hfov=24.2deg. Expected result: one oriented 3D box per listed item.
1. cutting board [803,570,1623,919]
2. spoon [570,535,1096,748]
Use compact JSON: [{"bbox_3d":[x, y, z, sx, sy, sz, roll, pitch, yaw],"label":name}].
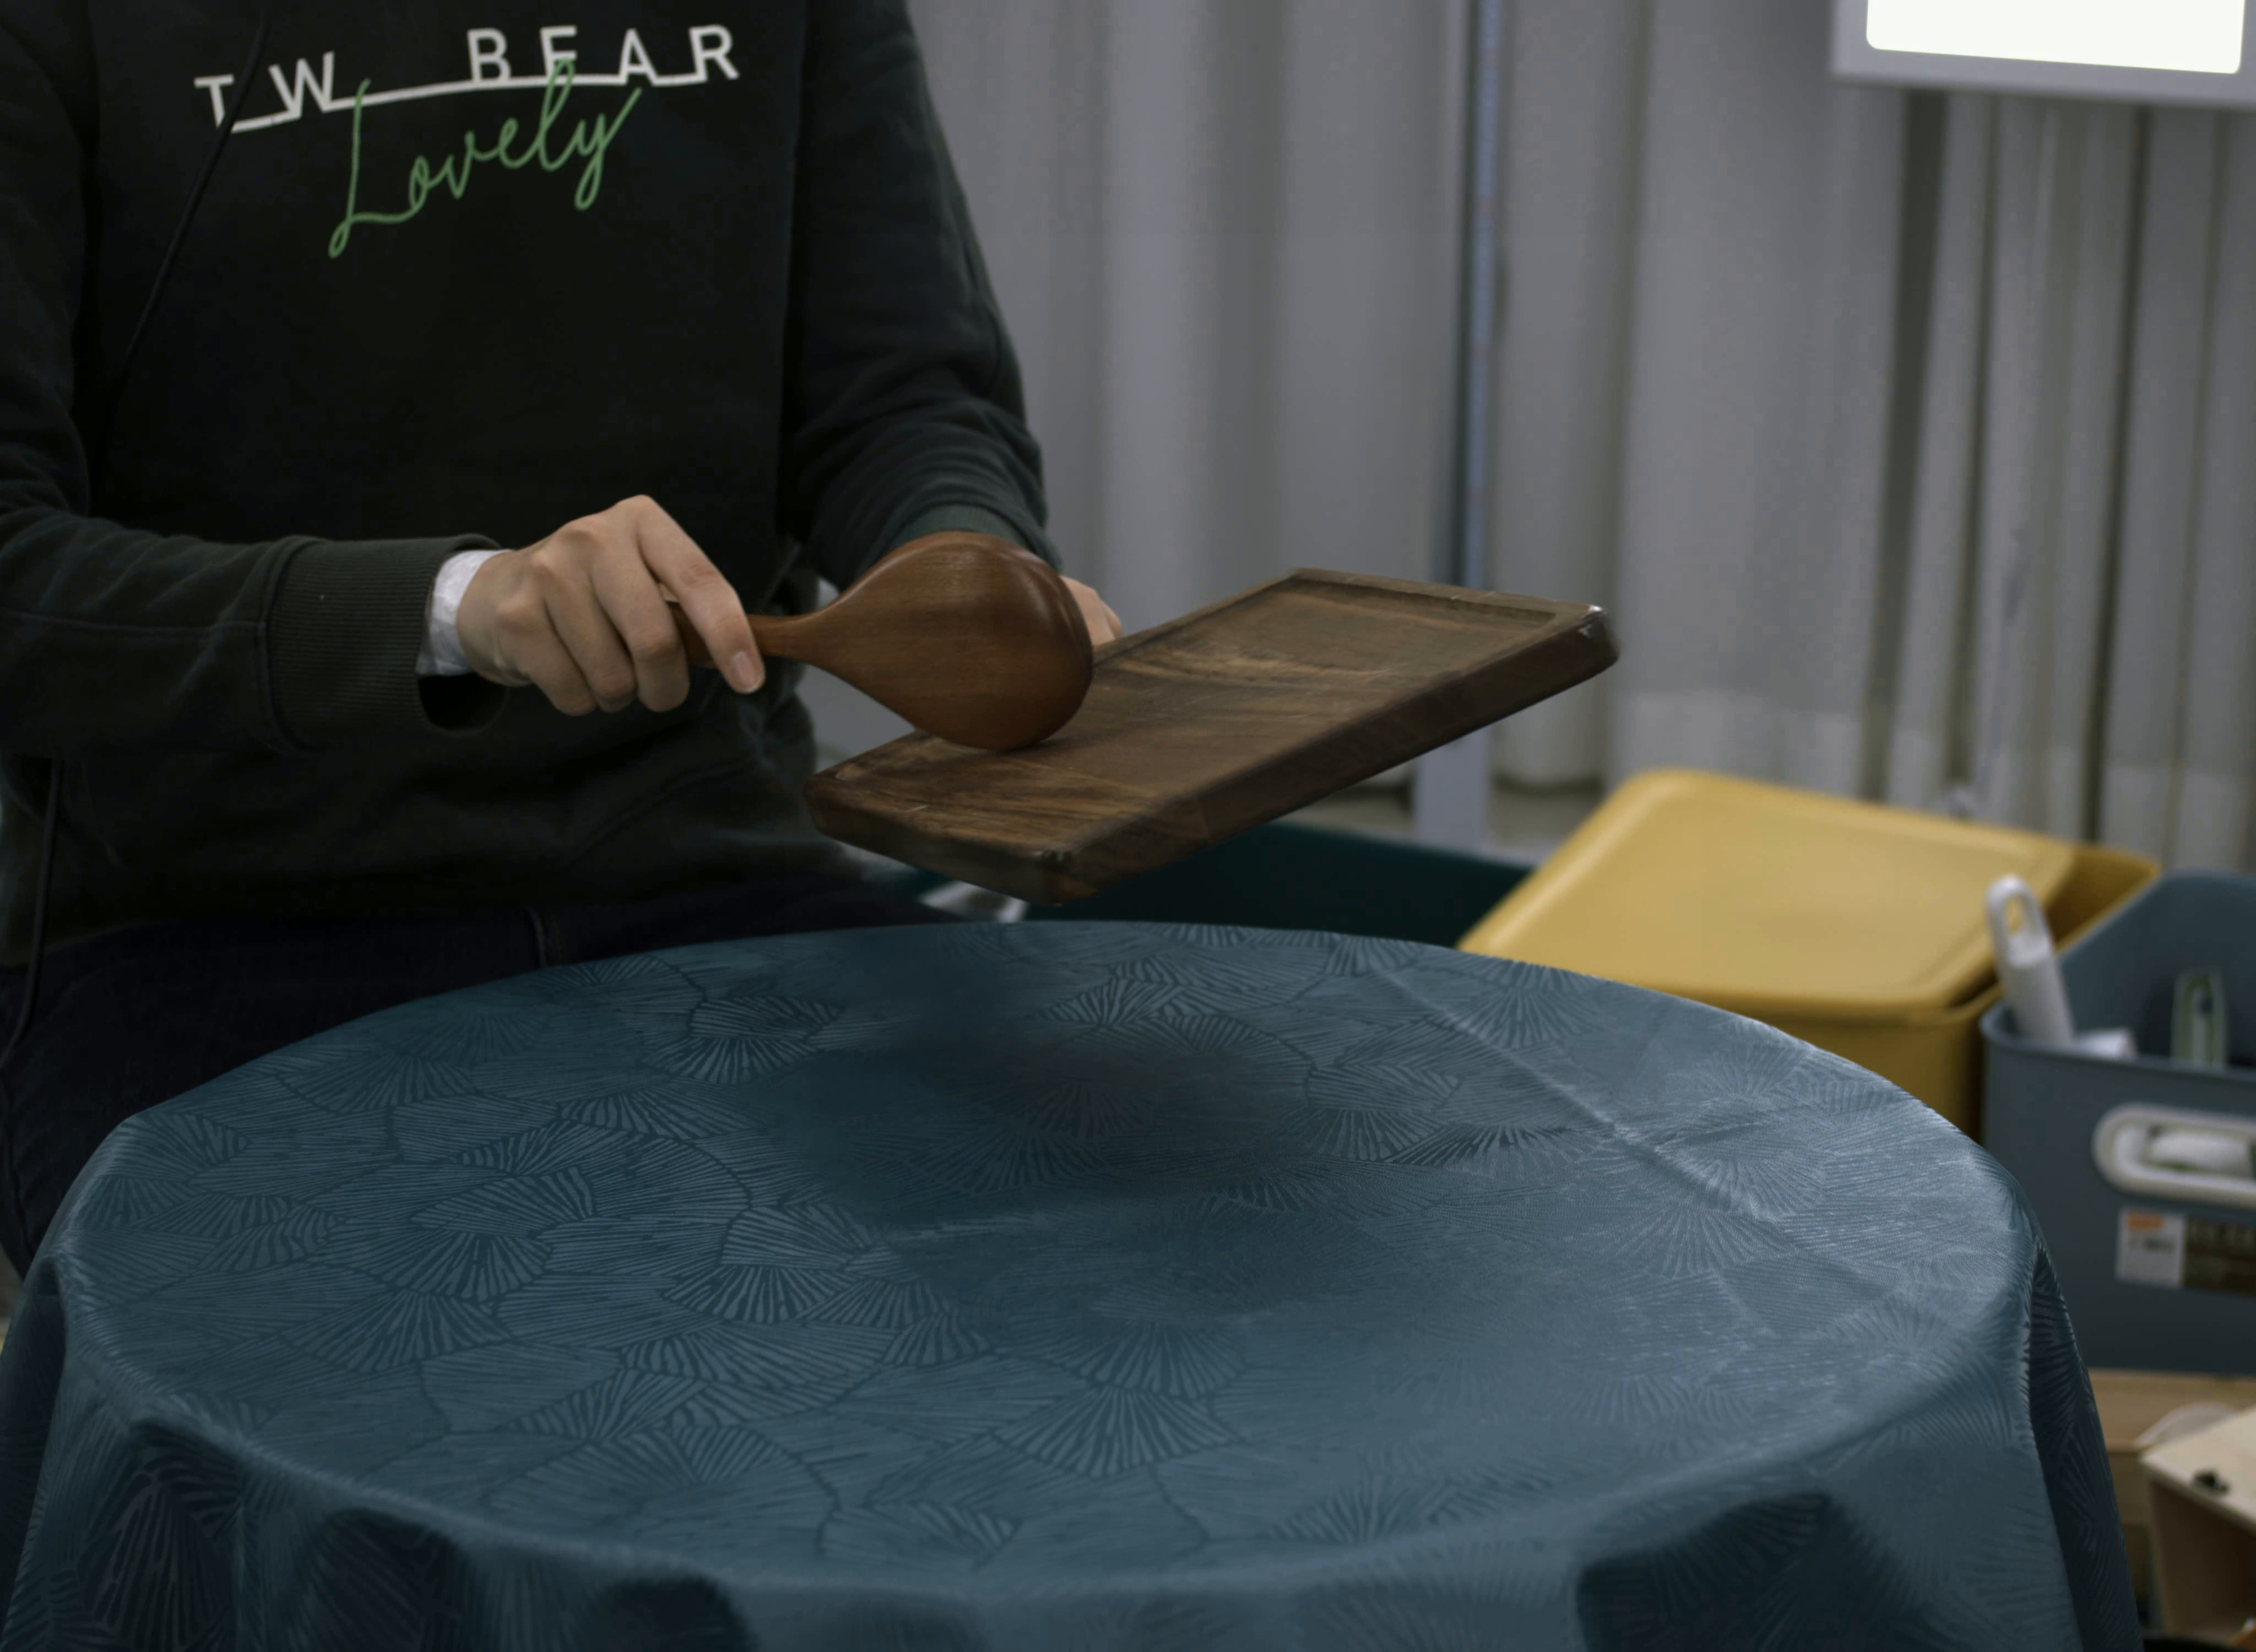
[{"bbox_3d":[0.004,-0.035,1.711,0.201,0.023,0.349,-25,13,-17],"label":"cutting board"},{"bbox_3d":[-0.101,-0.061,1.725,0.213,0.076,0.017,4,28,36],"label":"spoon"}]
